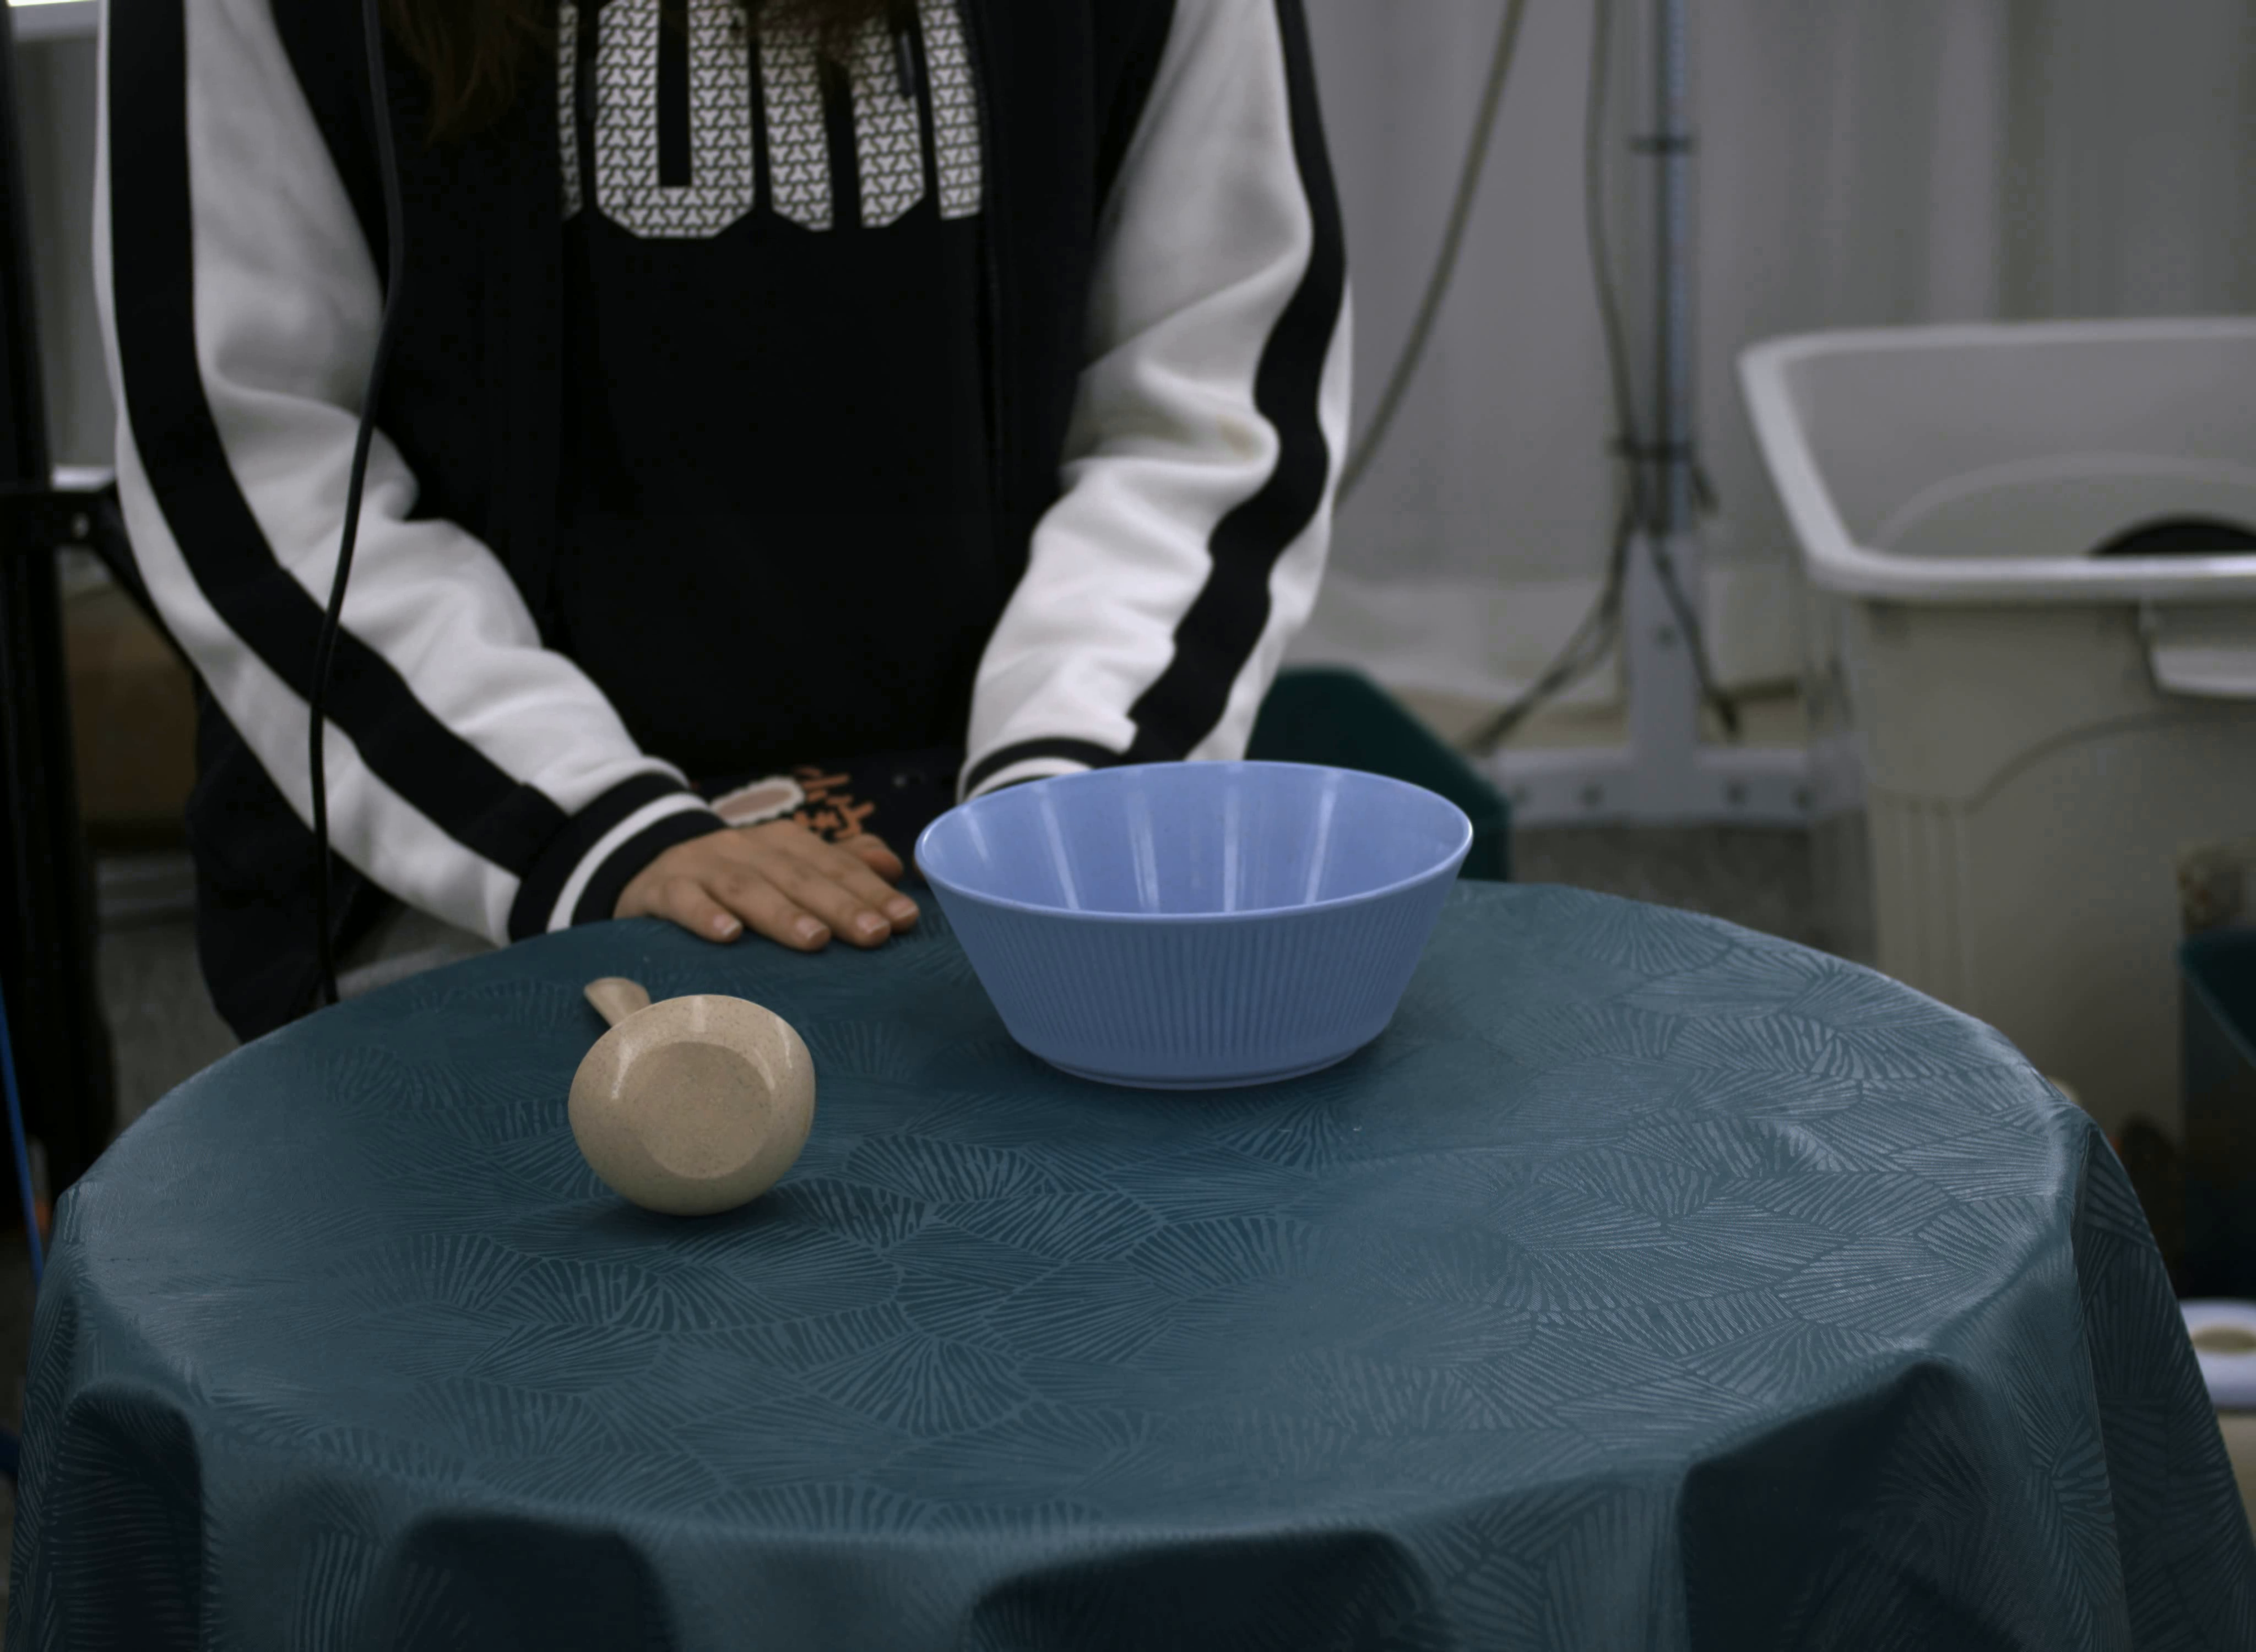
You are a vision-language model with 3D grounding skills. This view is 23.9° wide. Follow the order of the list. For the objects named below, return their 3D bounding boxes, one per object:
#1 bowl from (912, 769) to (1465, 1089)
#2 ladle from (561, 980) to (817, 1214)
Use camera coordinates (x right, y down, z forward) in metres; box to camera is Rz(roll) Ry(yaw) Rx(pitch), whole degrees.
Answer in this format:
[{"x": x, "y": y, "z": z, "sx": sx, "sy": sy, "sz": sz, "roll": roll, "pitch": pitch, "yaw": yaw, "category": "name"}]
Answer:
[{"x": 0.019, "y": 0.035, "z": 1.686, "sx": 0.175, "sy": 0.070, "sz": 0.177, "roll": -2, "pitch": 16, "yaw": -1, "category": "bowl"}, {"x": -0.150, "y": 0.053, "z": 1.642, "sx": 0.071, "sy": 0.073, "sz": 0.258, "roll": -5, "pitch": 16, "yaw": -13, "category": "ladle"}]
